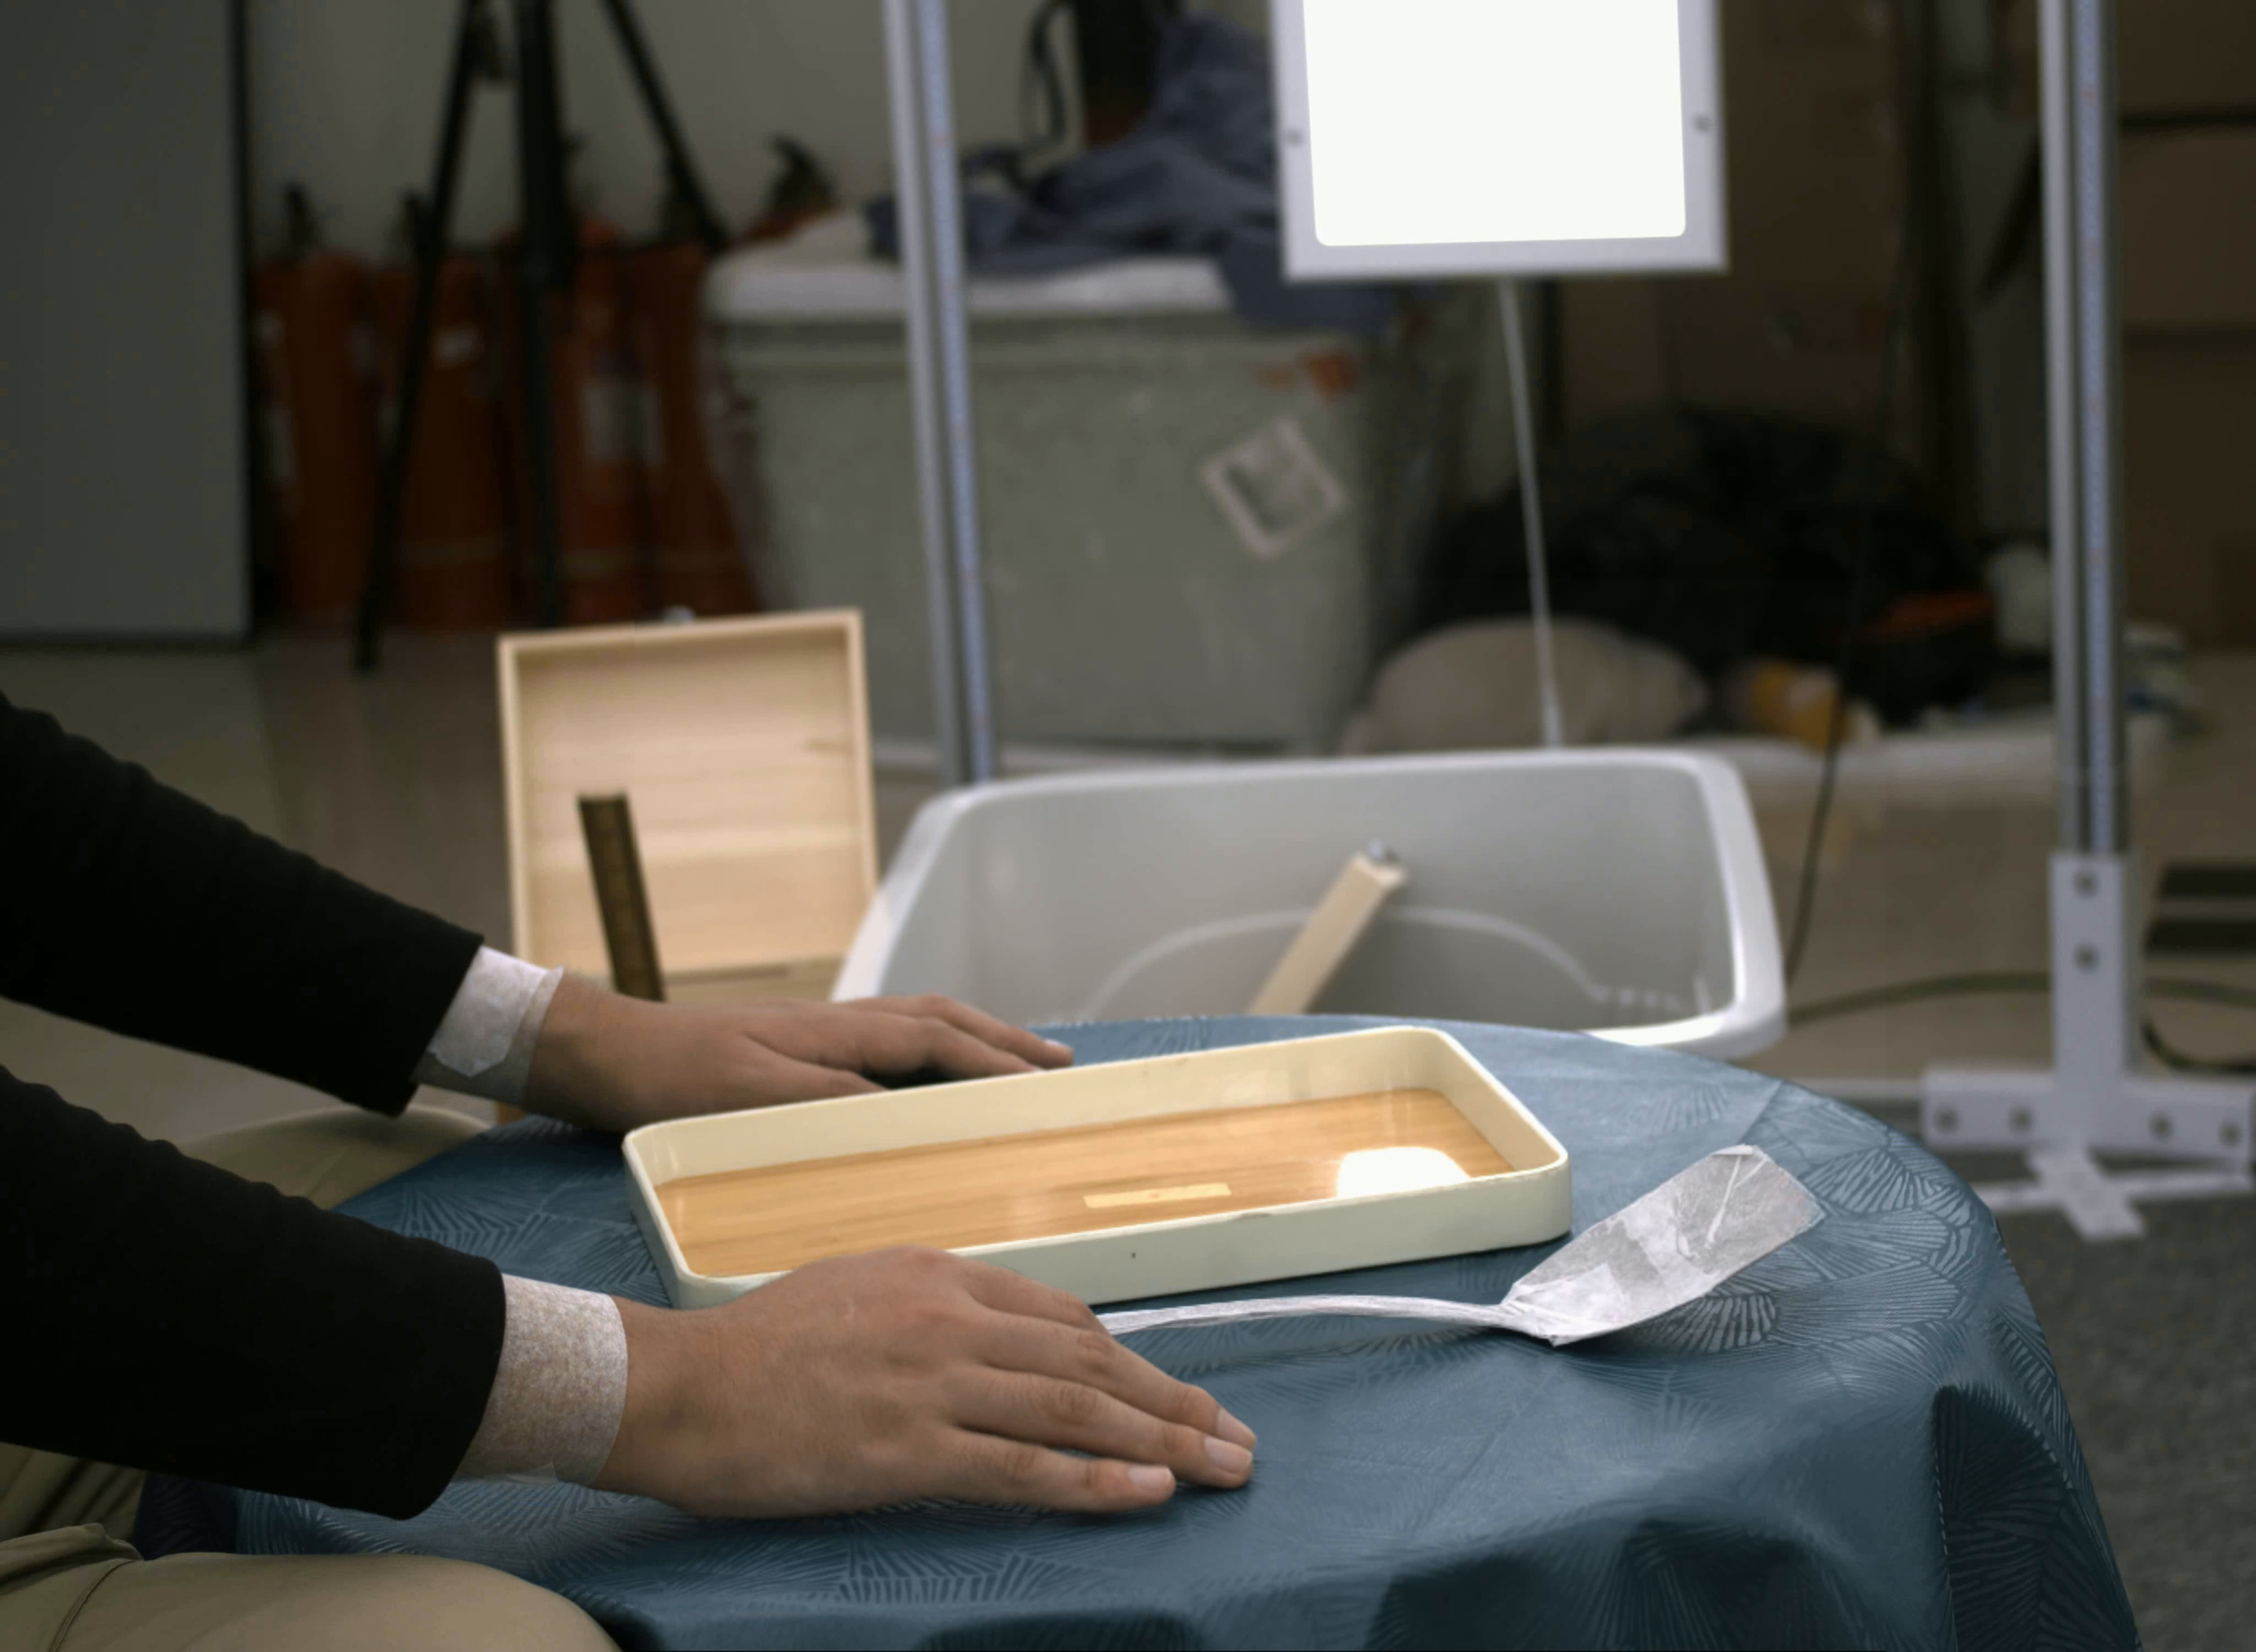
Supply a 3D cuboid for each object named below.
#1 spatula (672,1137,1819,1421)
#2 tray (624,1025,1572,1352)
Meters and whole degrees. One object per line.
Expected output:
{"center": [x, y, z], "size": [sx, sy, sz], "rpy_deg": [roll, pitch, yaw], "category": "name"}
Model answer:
{"center": [0.037, 0.147, 1.719], "size": [0.362, 0.045, 0.099], "rpy_deg": [-6, 14, -4], "category": "spatula"}
{"center": [-0.014, 0.121, 1.870], "size": [0.297, 0.027, 0.192], "rpy_deg": [-7, 14, -8], "category": "tray"}
